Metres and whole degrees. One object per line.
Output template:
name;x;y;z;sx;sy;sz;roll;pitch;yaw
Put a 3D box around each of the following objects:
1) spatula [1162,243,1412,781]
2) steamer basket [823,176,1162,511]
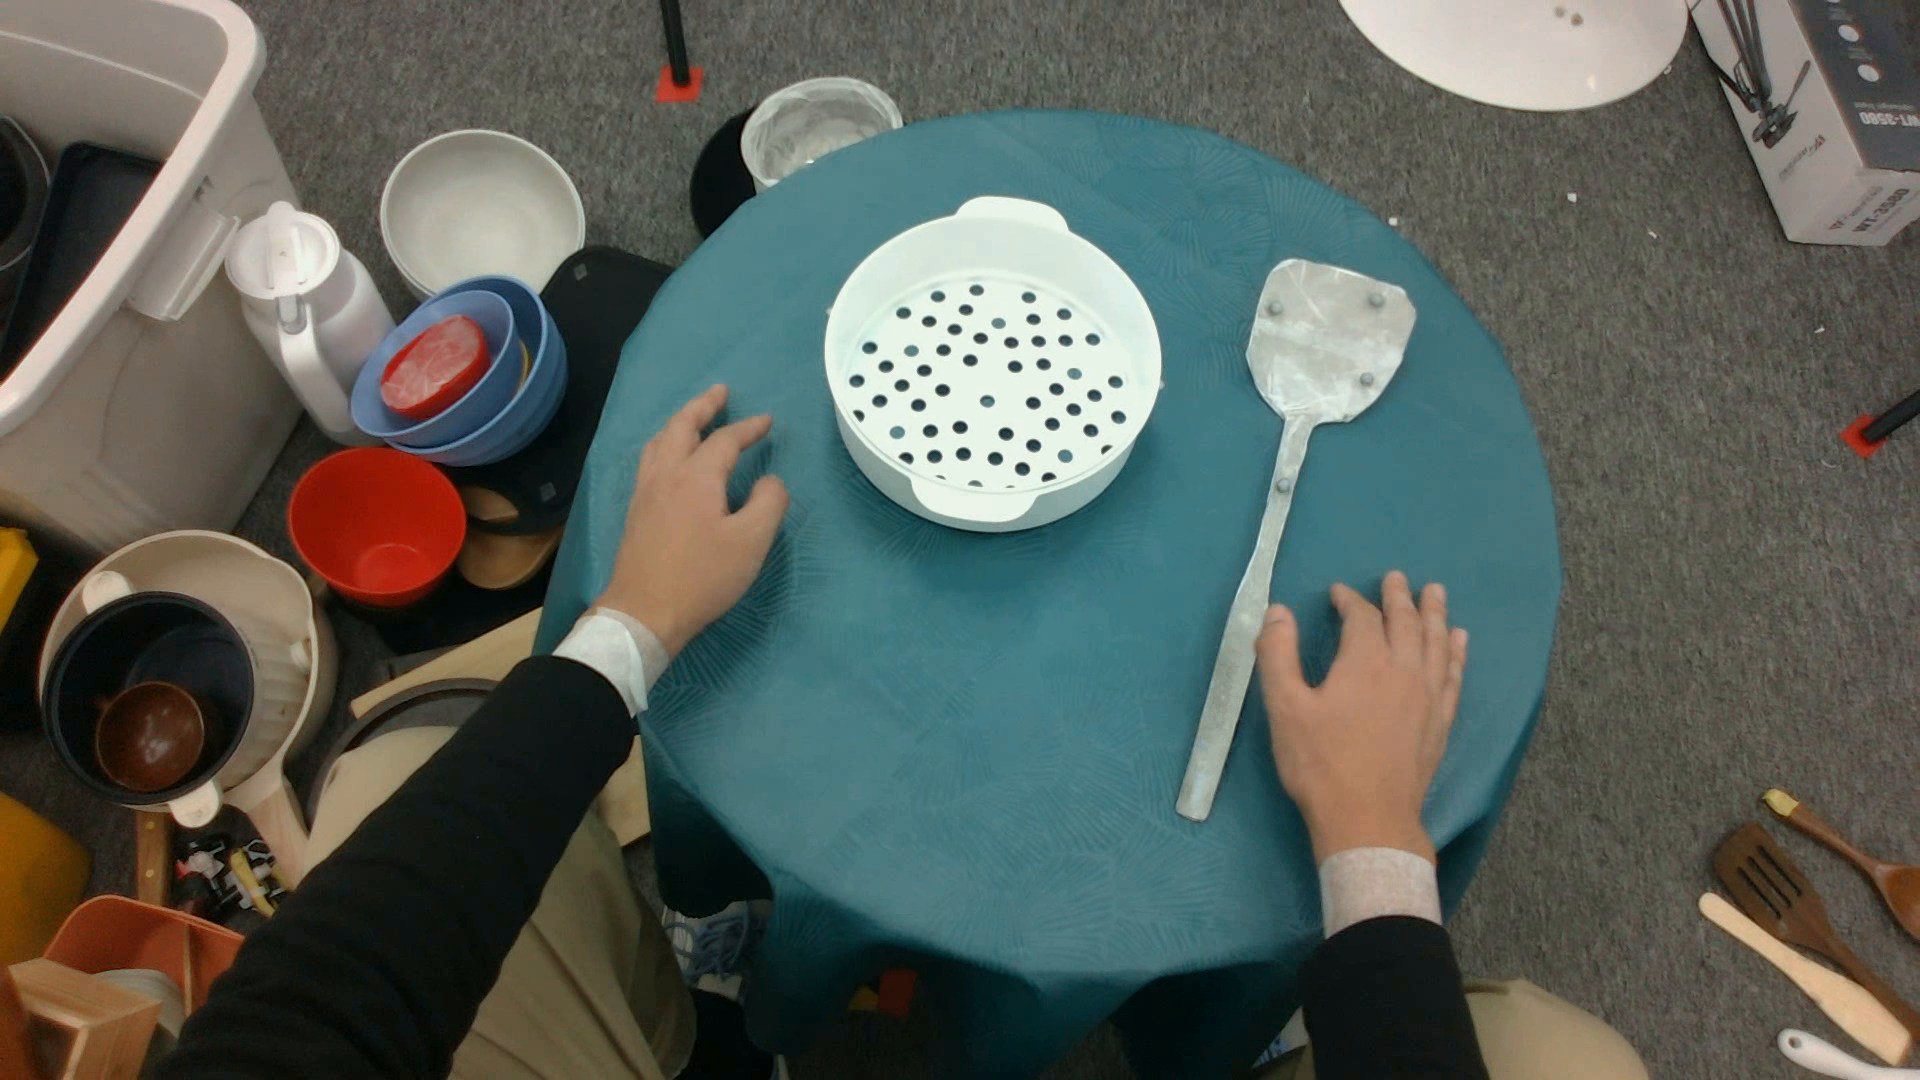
spatula;0.187;-0.023;0.829;0.098;0.044;0.366;20;64;4
steamer basket;0.019;-0.114;0.844;0.202;0.069;0.231;8;65;1
